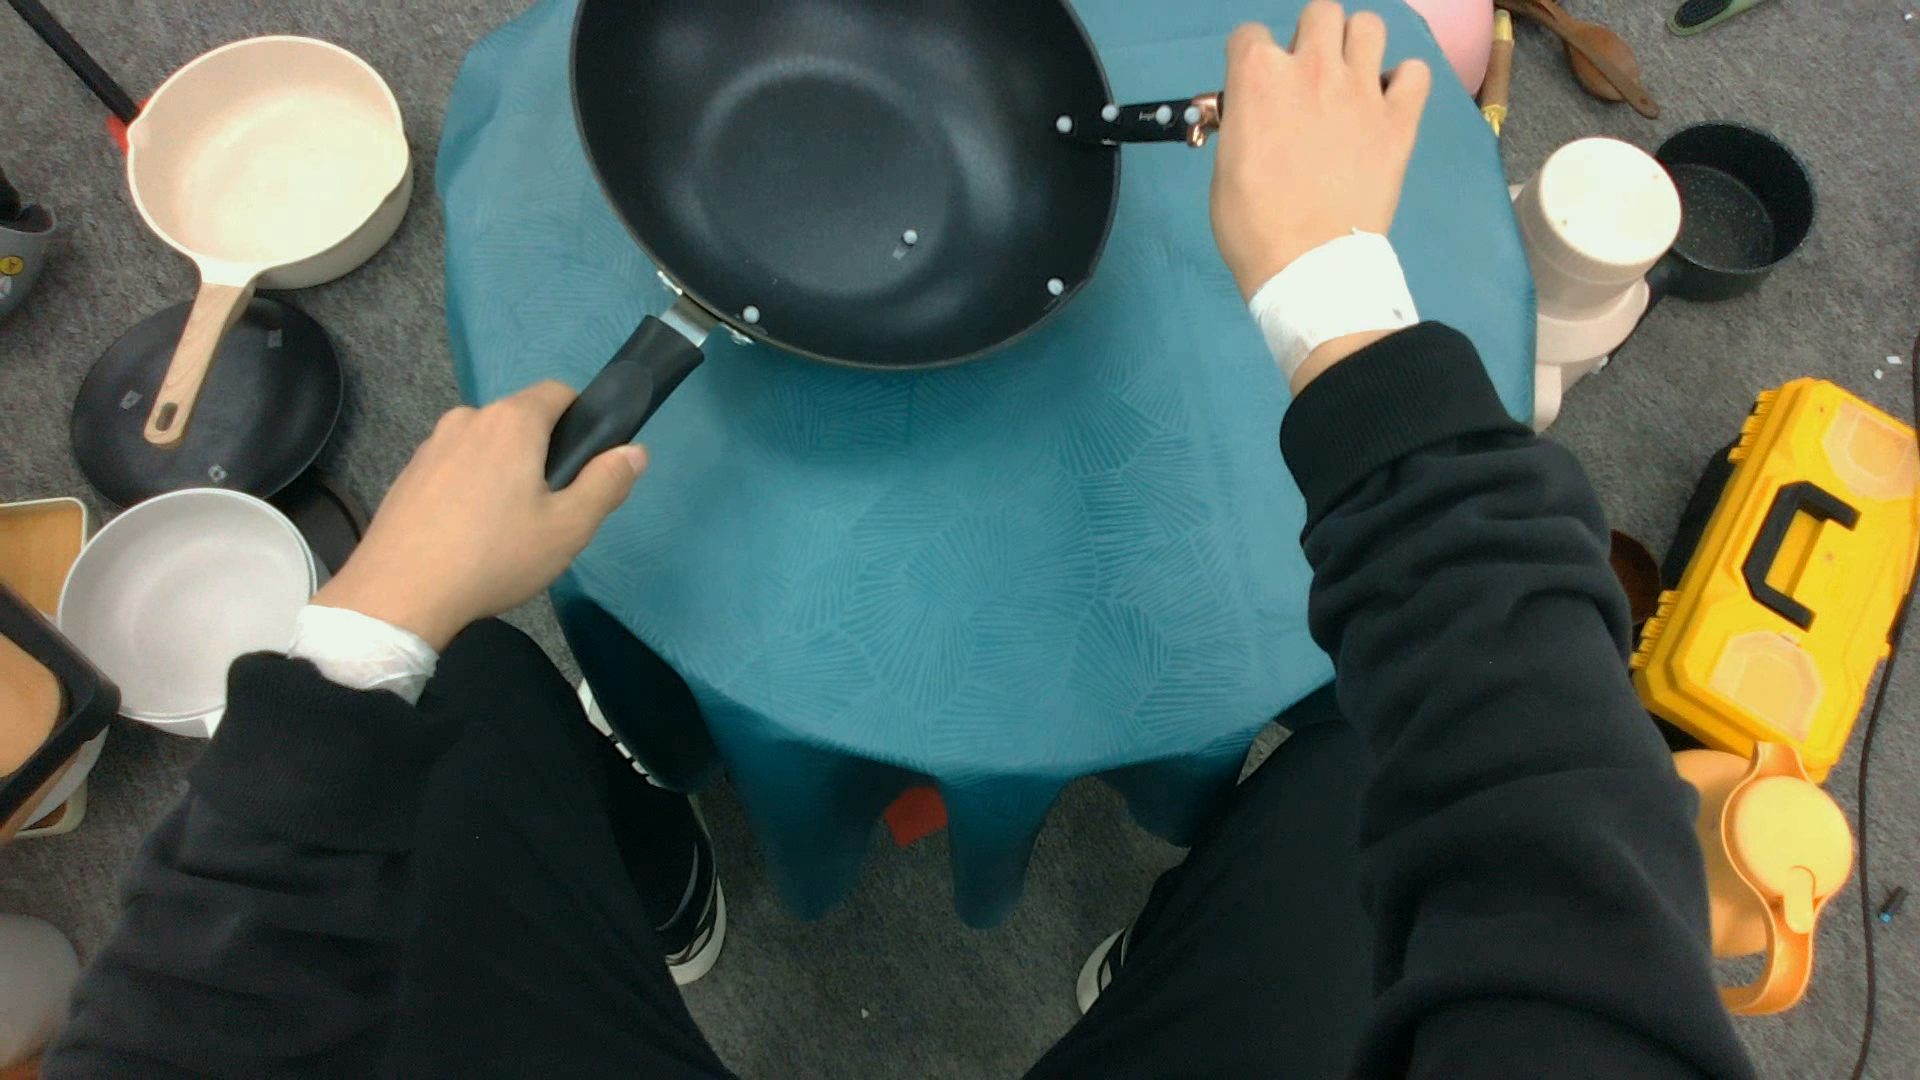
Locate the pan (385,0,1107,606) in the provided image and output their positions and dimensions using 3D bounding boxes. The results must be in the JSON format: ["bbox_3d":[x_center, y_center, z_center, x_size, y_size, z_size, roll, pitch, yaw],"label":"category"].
[{"bbox_3d":[-0.115,-0.145,0.695,0.288,0.086,0.465,36,69,-6],"label":"pan"}]

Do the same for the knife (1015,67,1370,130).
[{"bbox_3d":[0.105,-0.219,0.687,0.017,0.225,0.026,-5,104,-41],"label":"knife"}]
